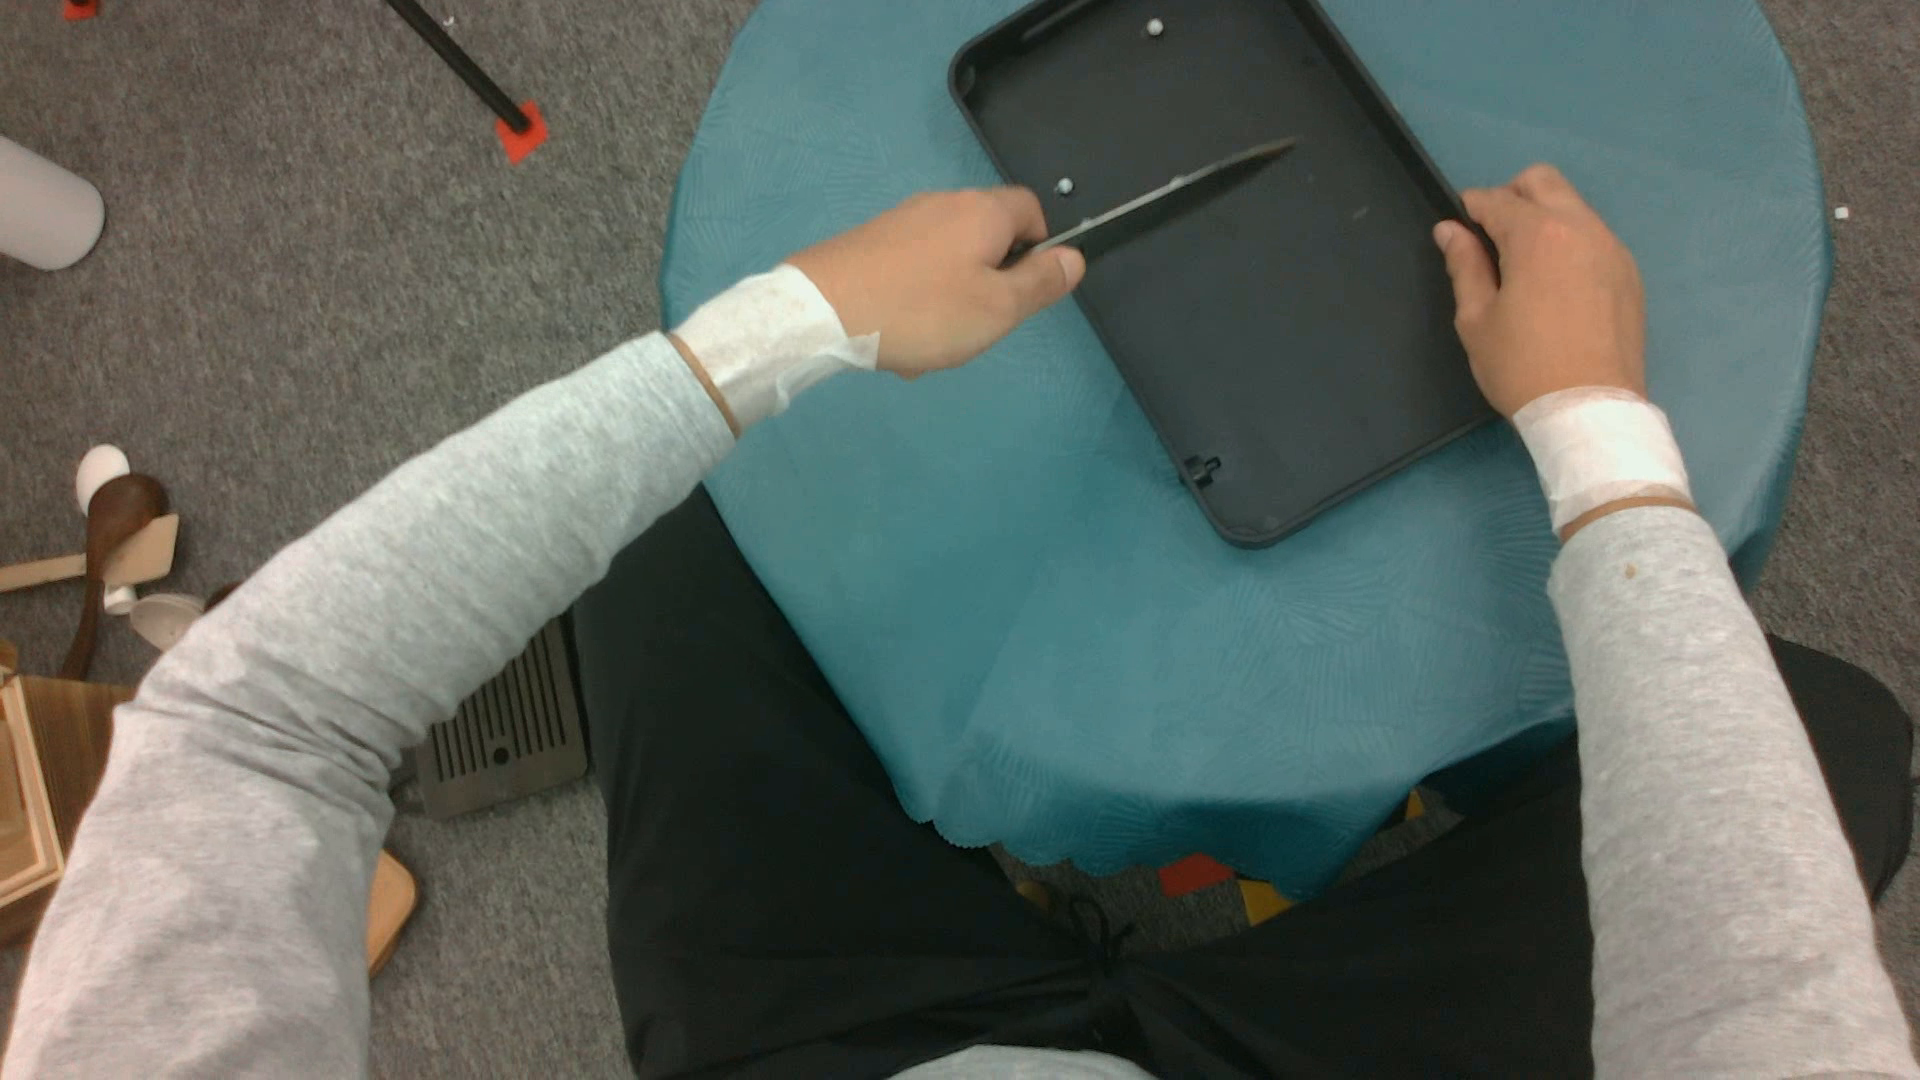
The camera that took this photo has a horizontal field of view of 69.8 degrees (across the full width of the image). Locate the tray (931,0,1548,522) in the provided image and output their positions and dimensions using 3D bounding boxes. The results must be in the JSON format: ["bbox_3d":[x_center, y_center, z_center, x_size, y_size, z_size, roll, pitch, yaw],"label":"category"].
[{"bbox_3d":[0.134,-0.180,0.706,0.184,0.037,0.318,-31,76,4],"label":"tray"}]

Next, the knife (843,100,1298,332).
[{"bbox_3d":[0.054,-0.147,0.594,0.239,0.024,0.016,-28,58,-16],"label":"knife"}]
